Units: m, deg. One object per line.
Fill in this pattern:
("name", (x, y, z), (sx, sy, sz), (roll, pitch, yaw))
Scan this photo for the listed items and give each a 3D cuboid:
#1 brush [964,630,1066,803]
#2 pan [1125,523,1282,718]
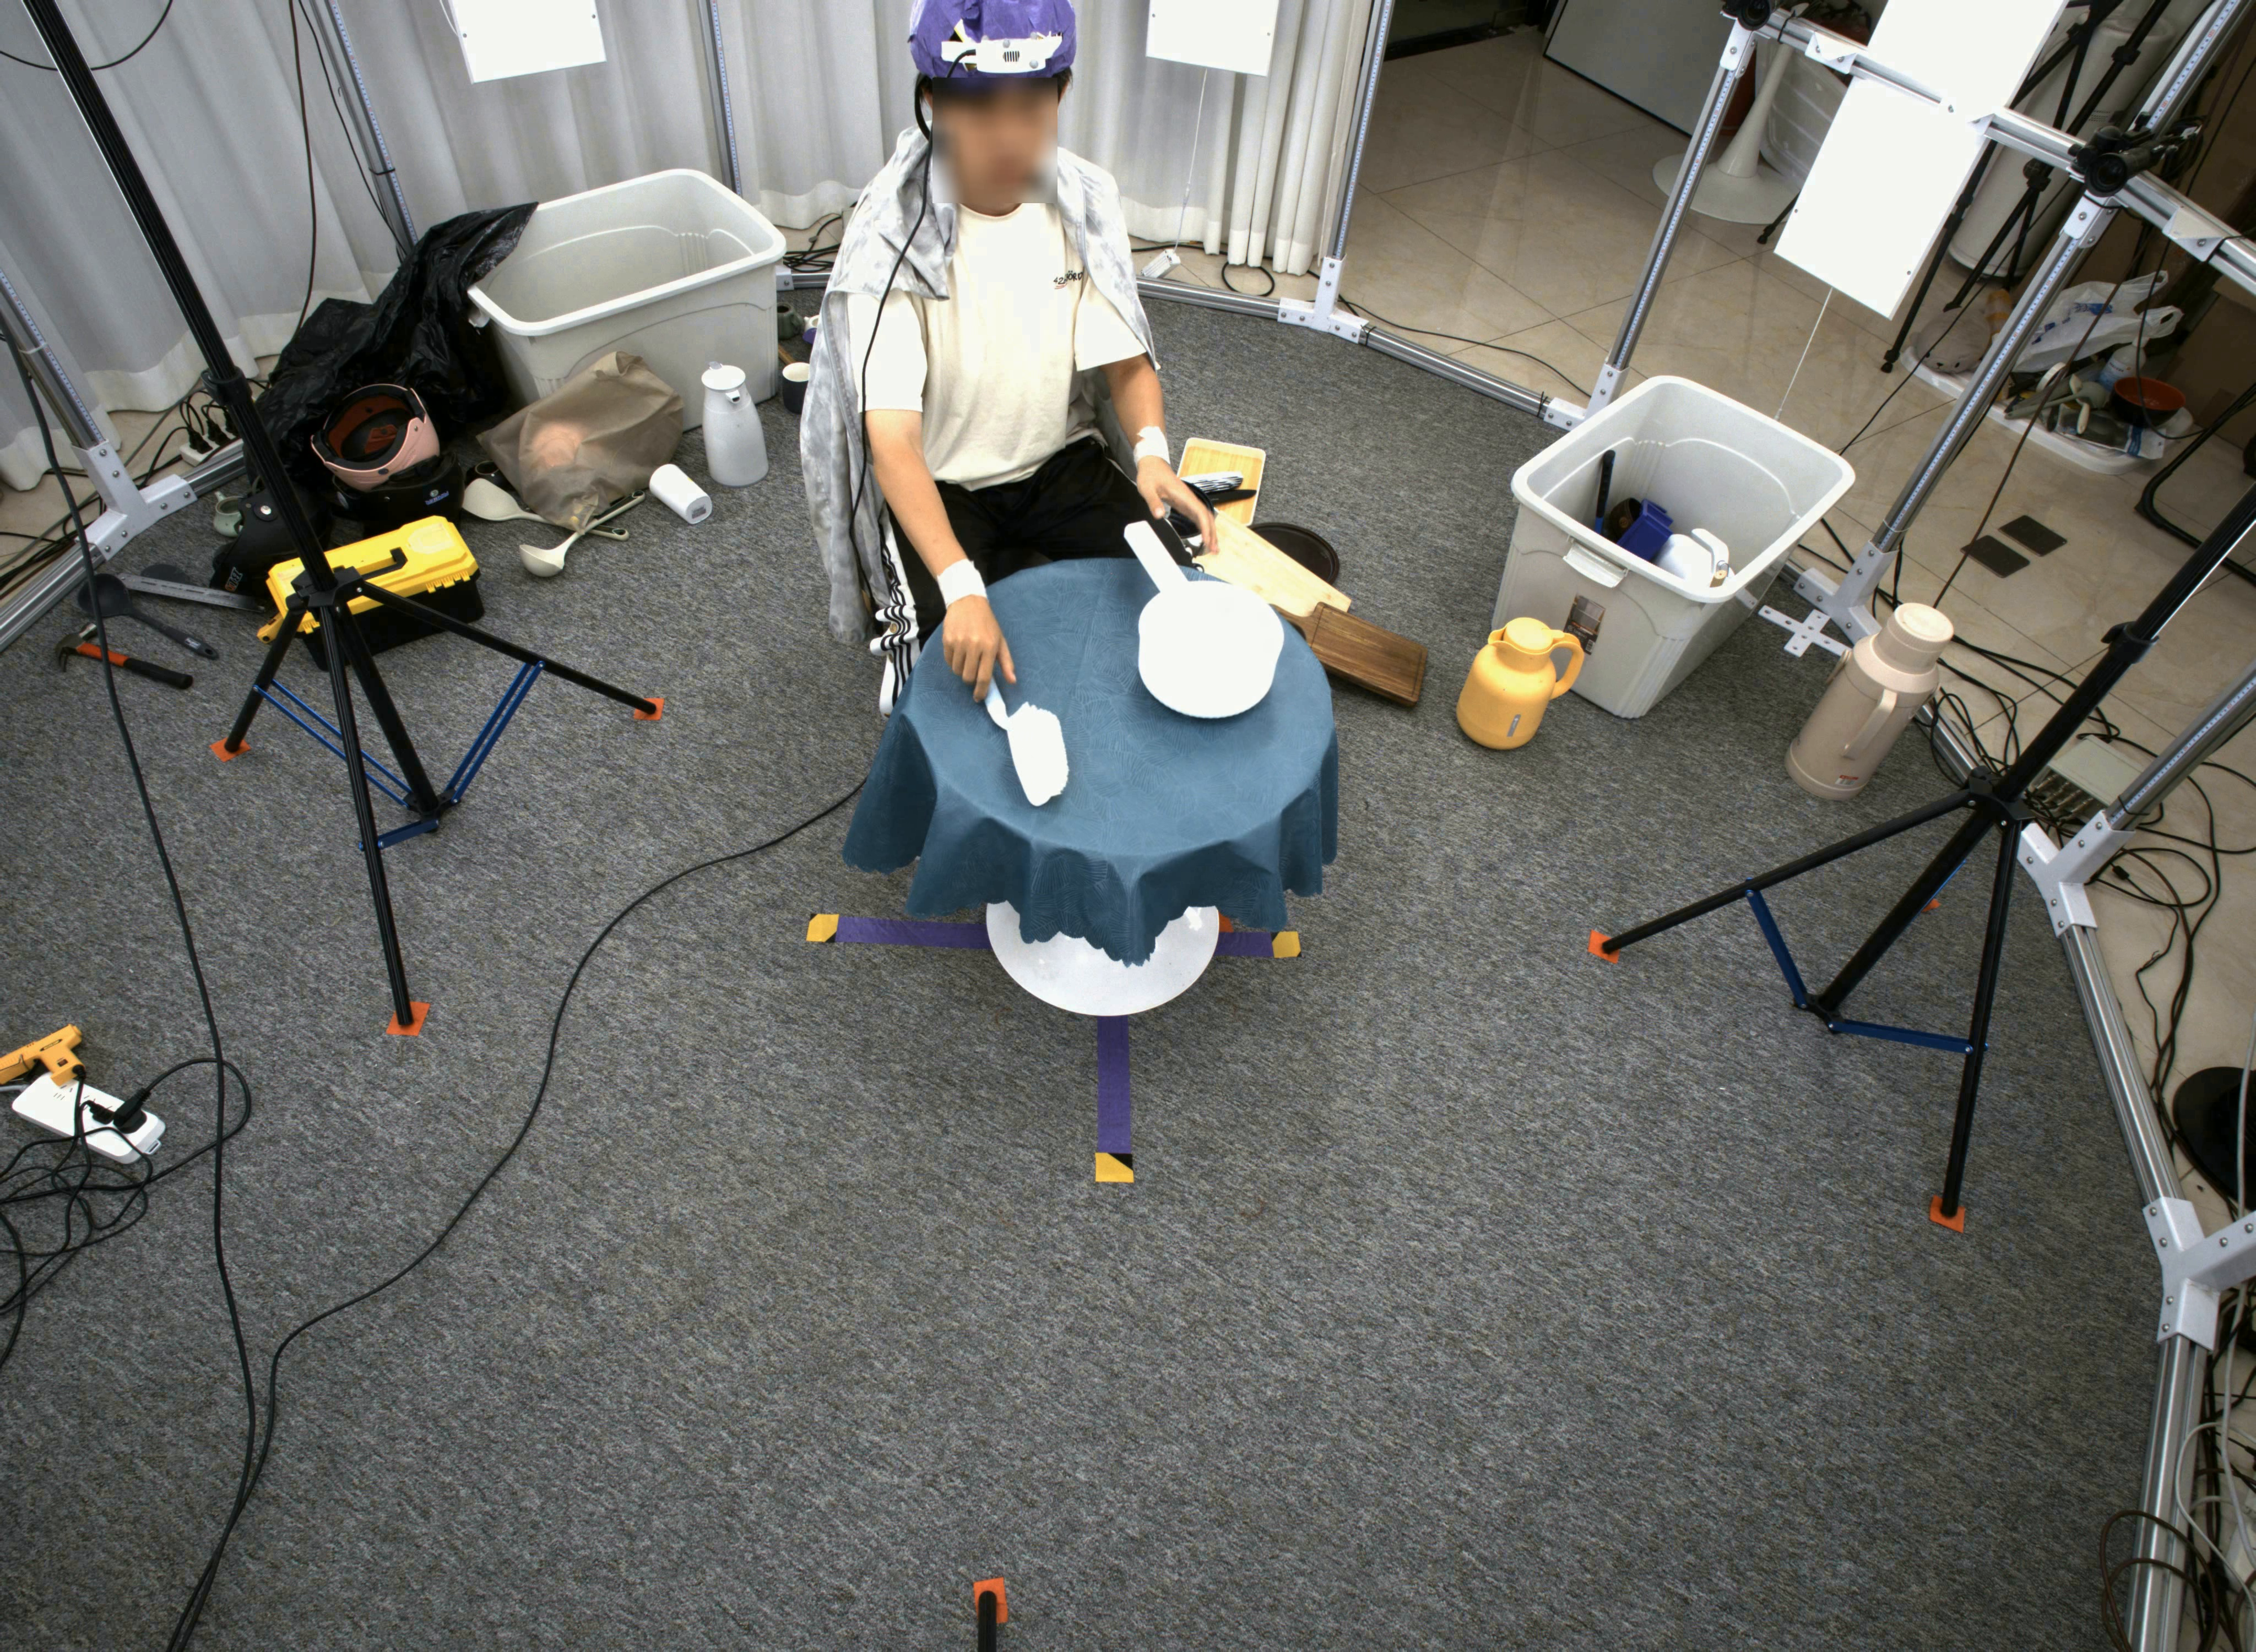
("brush", (-0.153, -0.174, 1.744), (0.084, 0.081, 0.333), (-21, 54, -3))
("pan", (0.081, -0.298, 1.864), (0.201, 0.099, 0.363), (-17, 51, -17))
